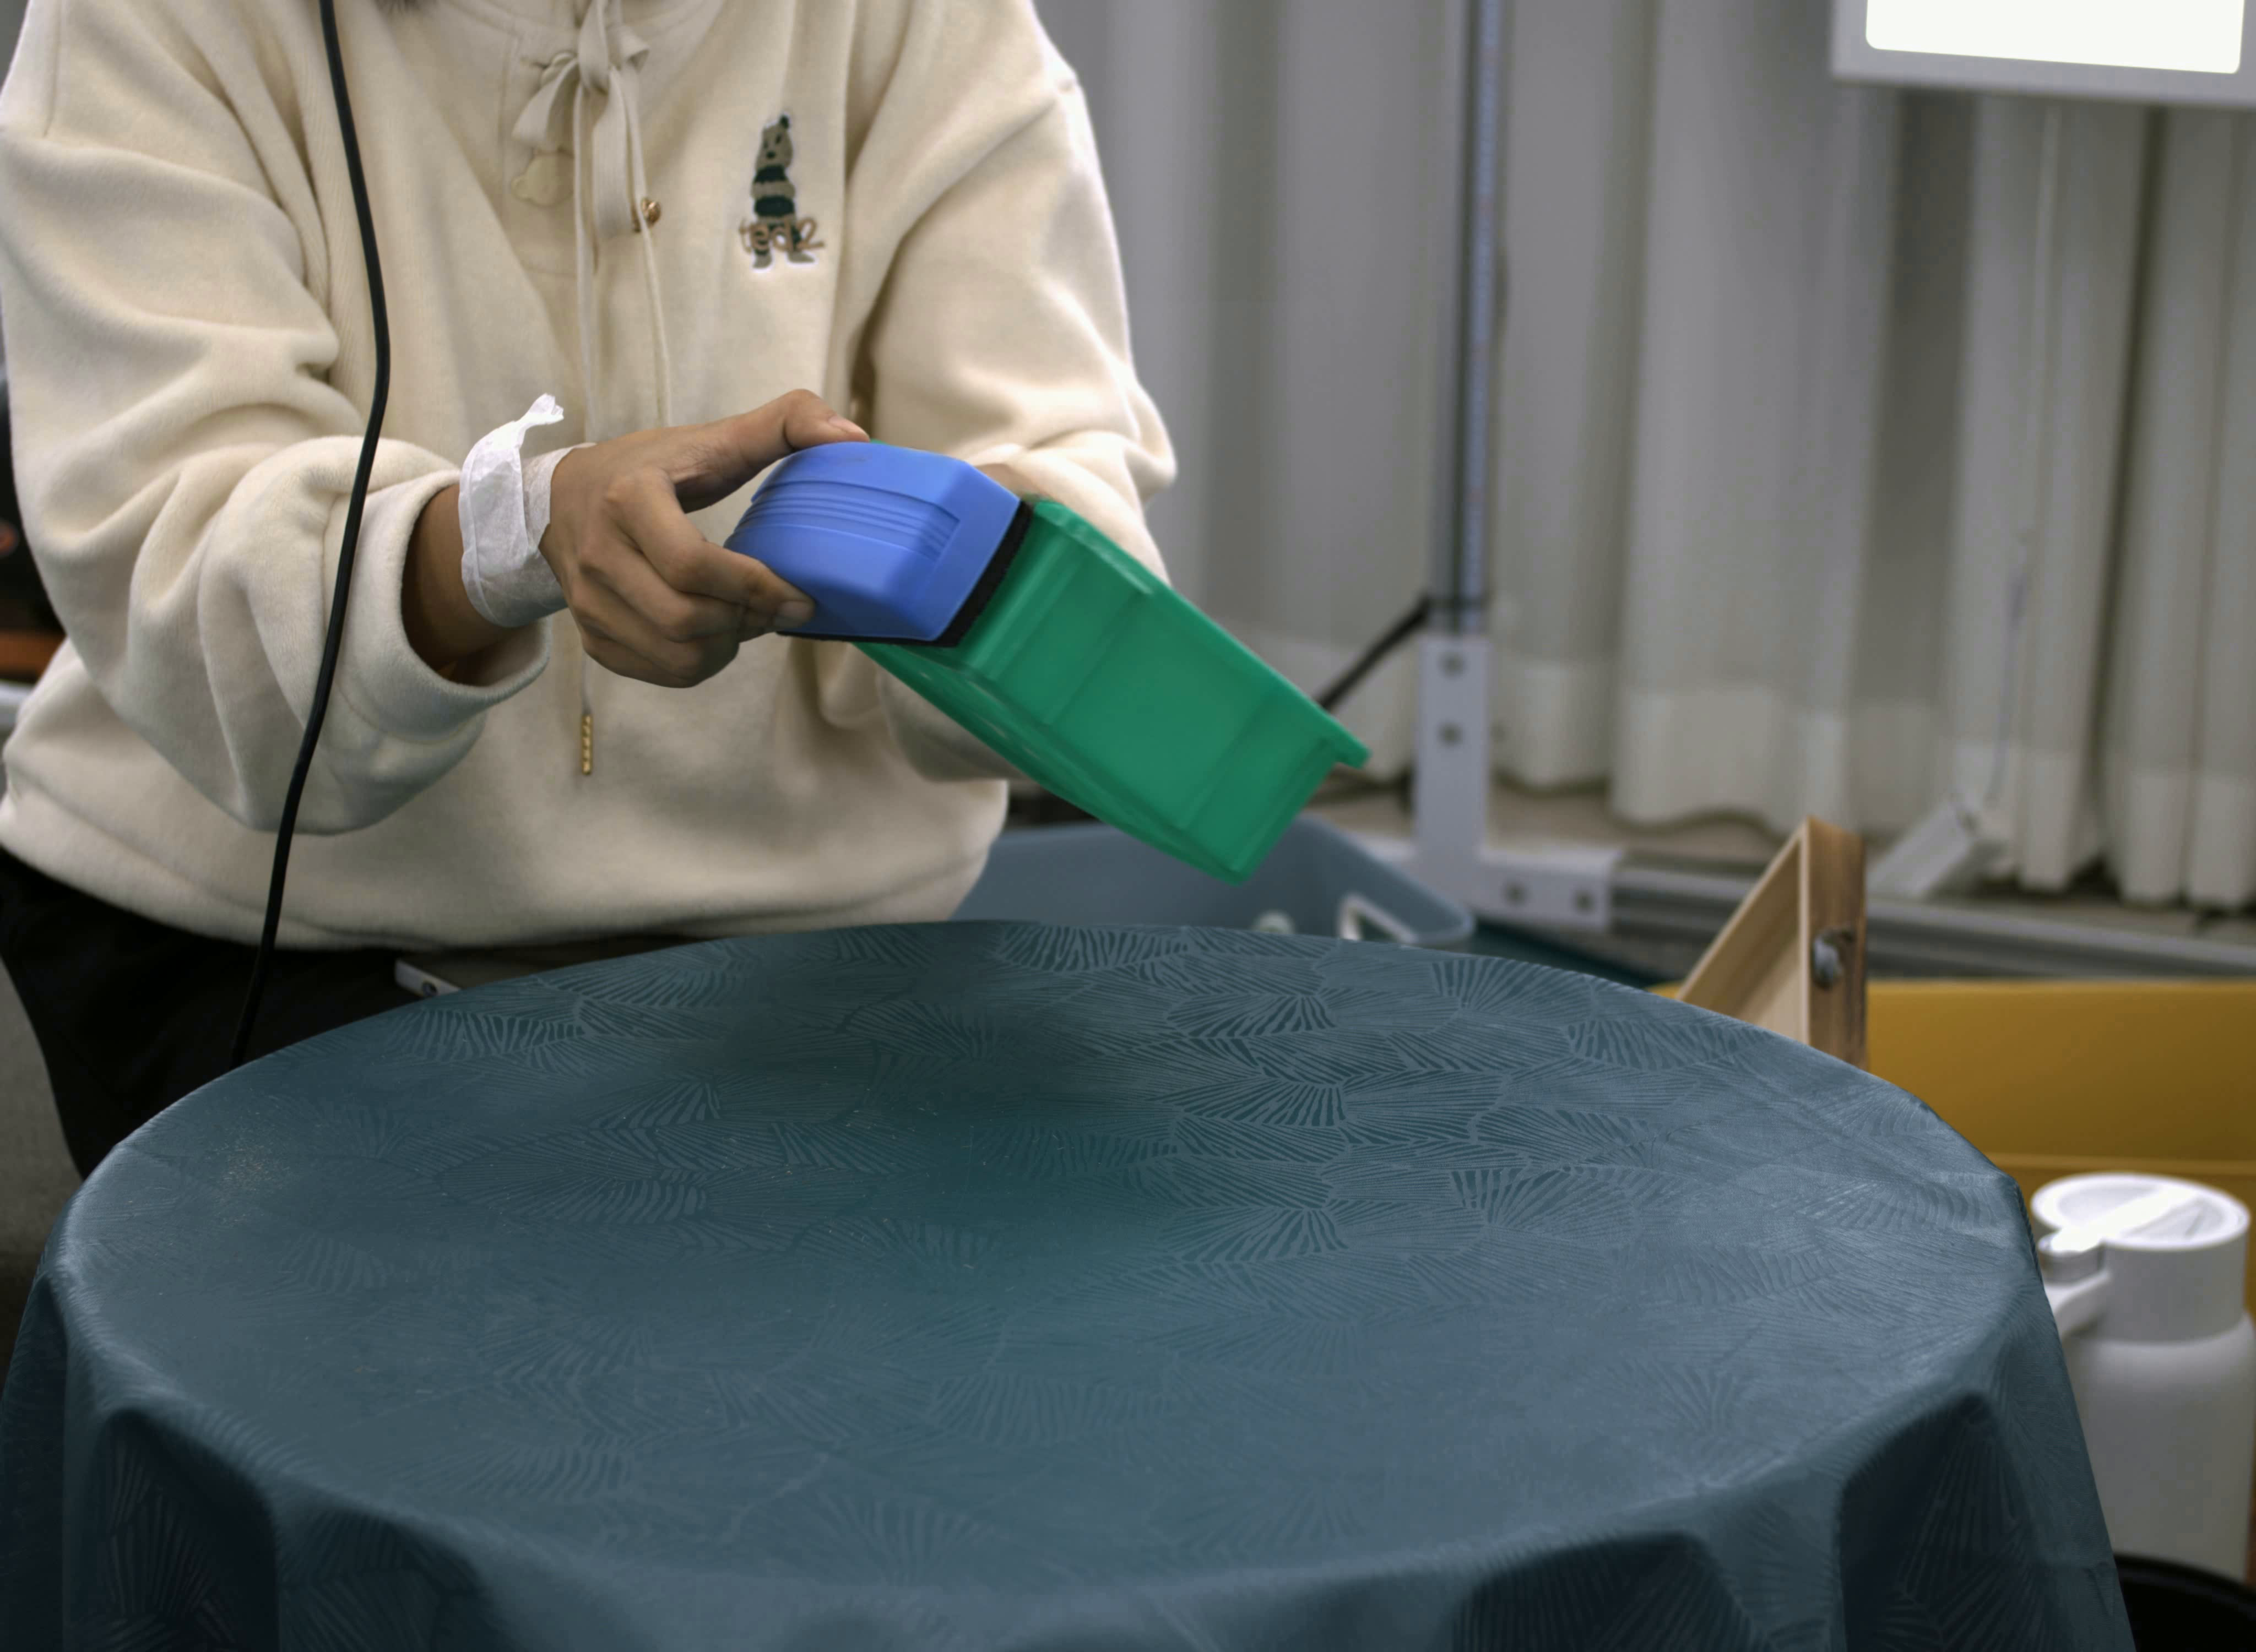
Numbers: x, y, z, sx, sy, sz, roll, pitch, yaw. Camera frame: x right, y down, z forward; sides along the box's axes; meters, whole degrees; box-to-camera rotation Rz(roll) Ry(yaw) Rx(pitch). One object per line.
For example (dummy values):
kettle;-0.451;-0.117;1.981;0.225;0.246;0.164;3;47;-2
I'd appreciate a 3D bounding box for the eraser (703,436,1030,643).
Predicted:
eraser;-0.089;-0.091;1.666;0.048;0.054;0.161;35;-12;-22

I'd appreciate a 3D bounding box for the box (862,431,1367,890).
box;-0.022;-0.053;1.713;0.140;0.065;0.208;37;-2;-24
